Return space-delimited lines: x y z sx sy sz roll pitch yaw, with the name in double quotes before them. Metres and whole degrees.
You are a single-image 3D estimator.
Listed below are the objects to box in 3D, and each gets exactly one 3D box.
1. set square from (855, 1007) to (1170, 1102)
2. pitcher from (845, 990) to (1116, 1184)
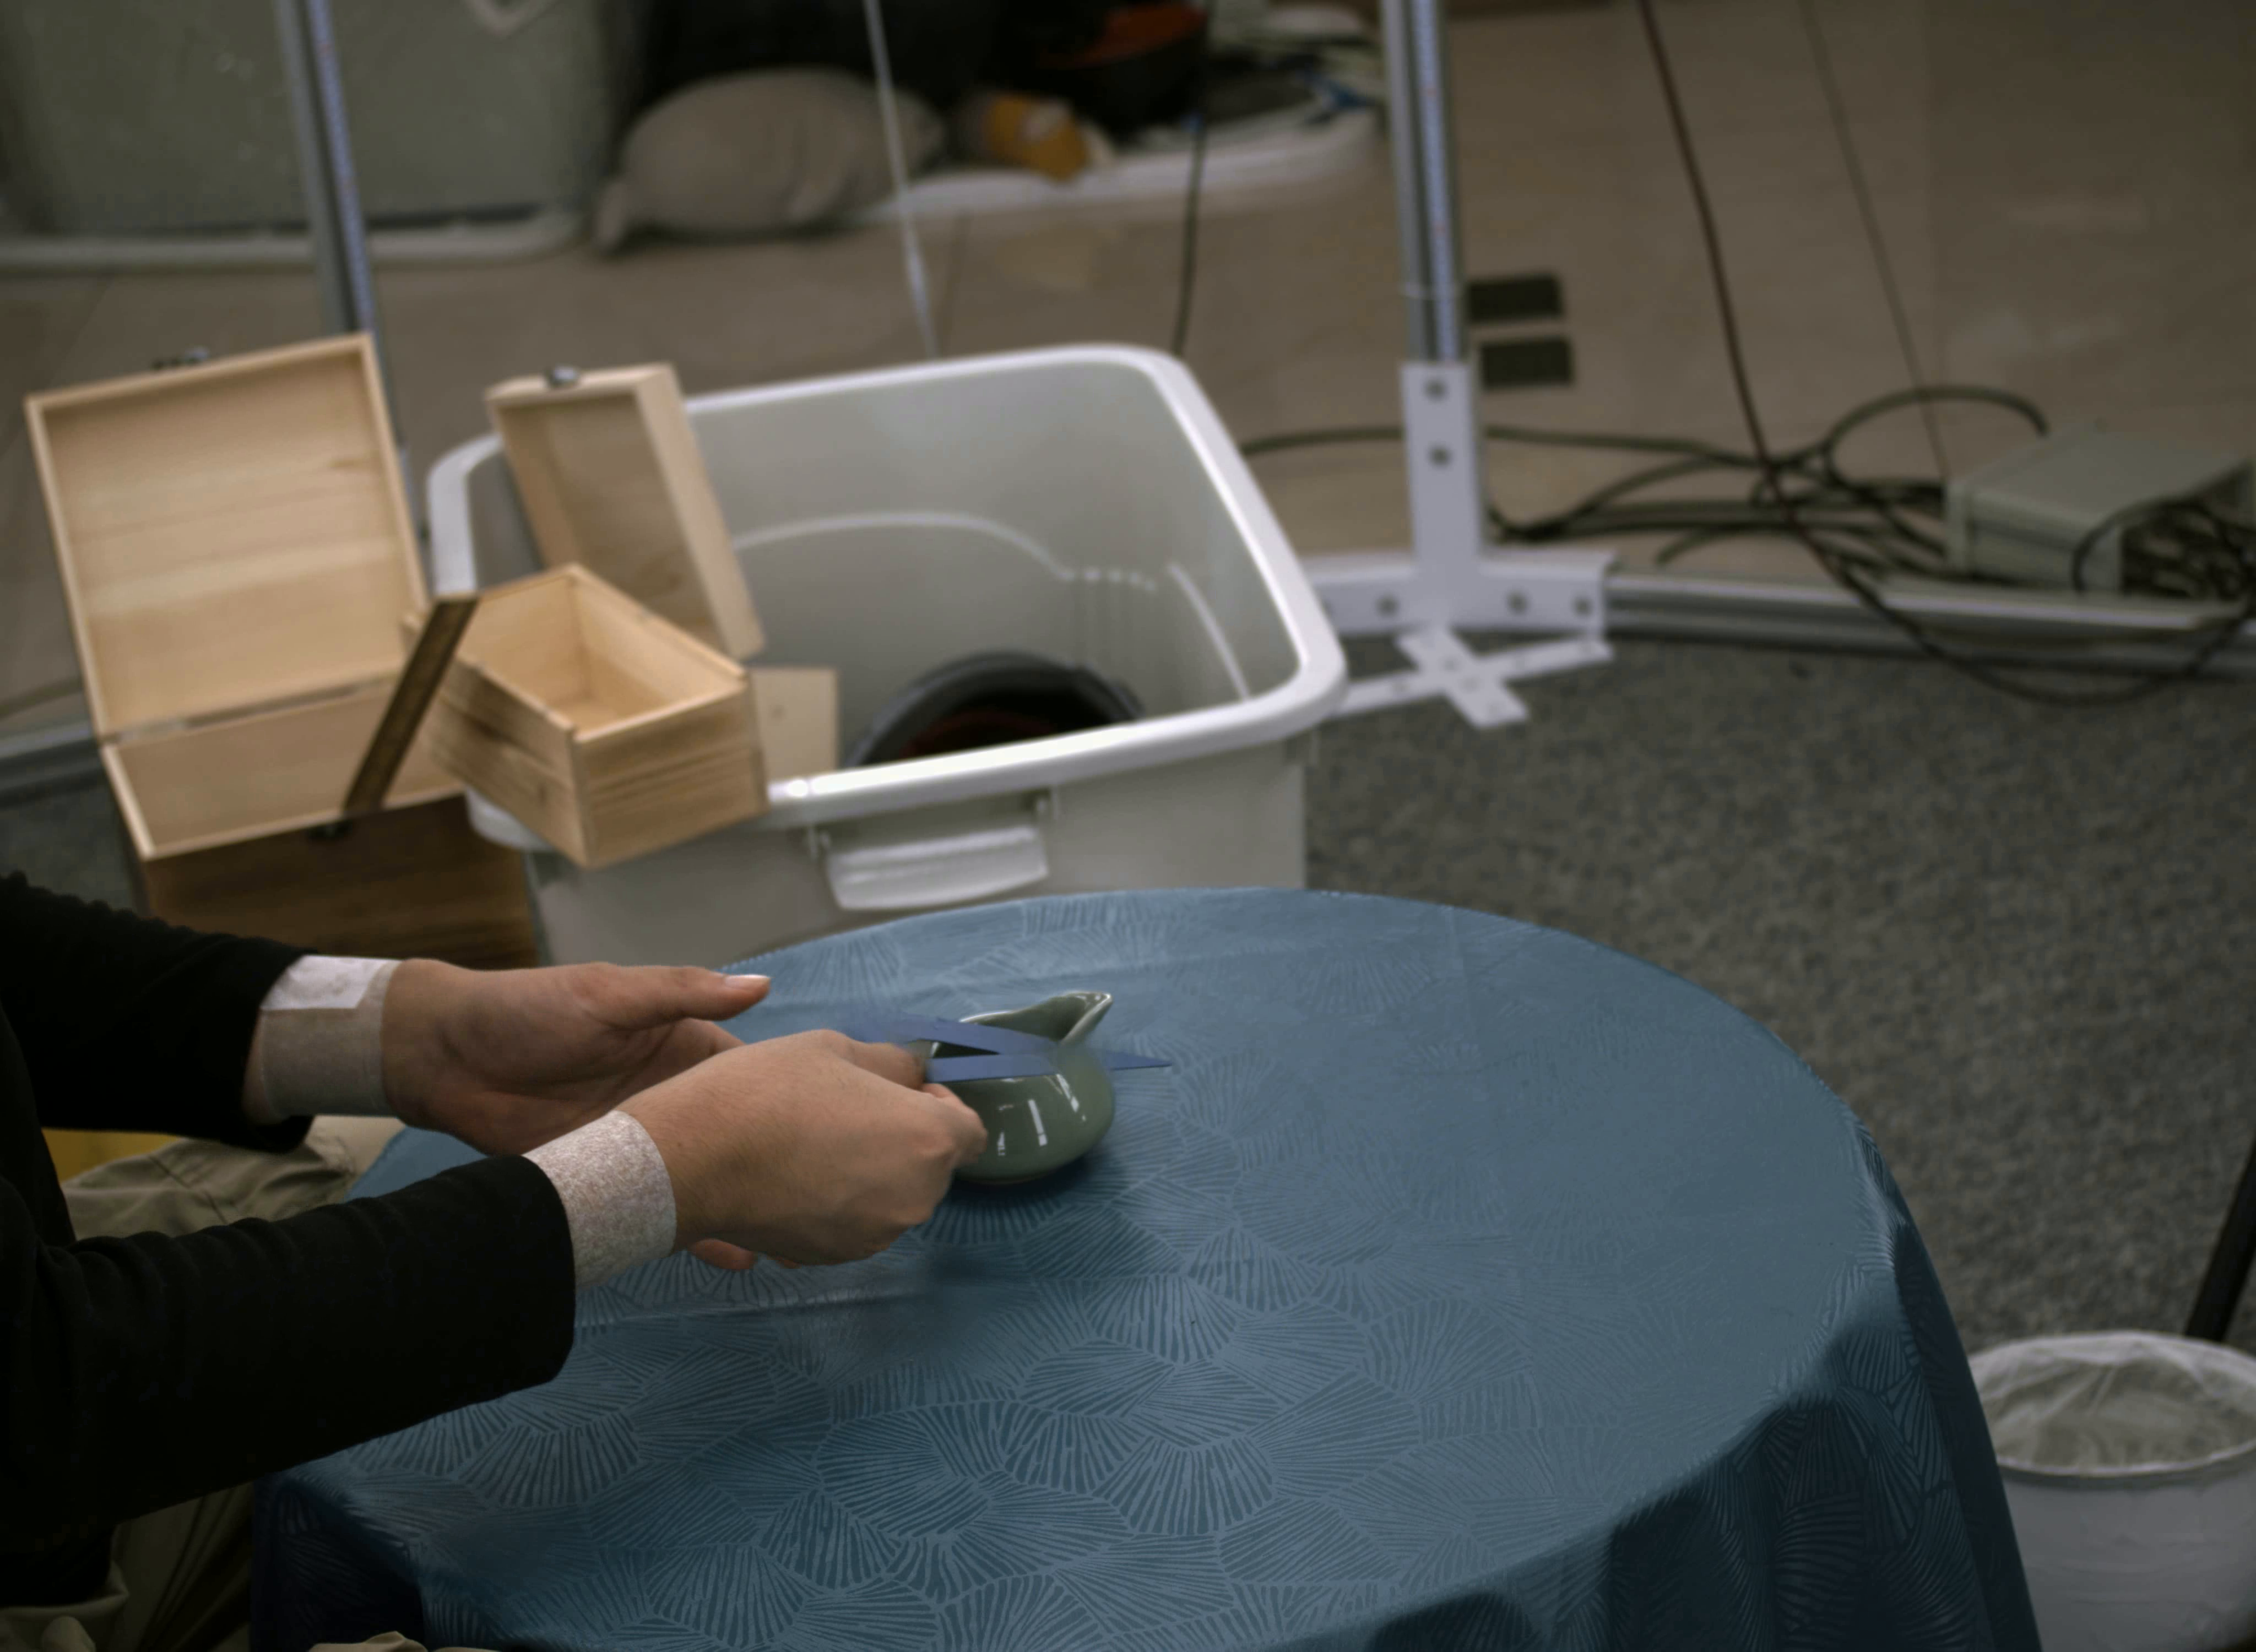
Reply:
"set square" -0.053 0.092 2.083 0.131 0.006 0.060 13 29 20
"pitcher" -0.054 0.103 2.172 0.112 0.057 0.083 -16 24 -20
